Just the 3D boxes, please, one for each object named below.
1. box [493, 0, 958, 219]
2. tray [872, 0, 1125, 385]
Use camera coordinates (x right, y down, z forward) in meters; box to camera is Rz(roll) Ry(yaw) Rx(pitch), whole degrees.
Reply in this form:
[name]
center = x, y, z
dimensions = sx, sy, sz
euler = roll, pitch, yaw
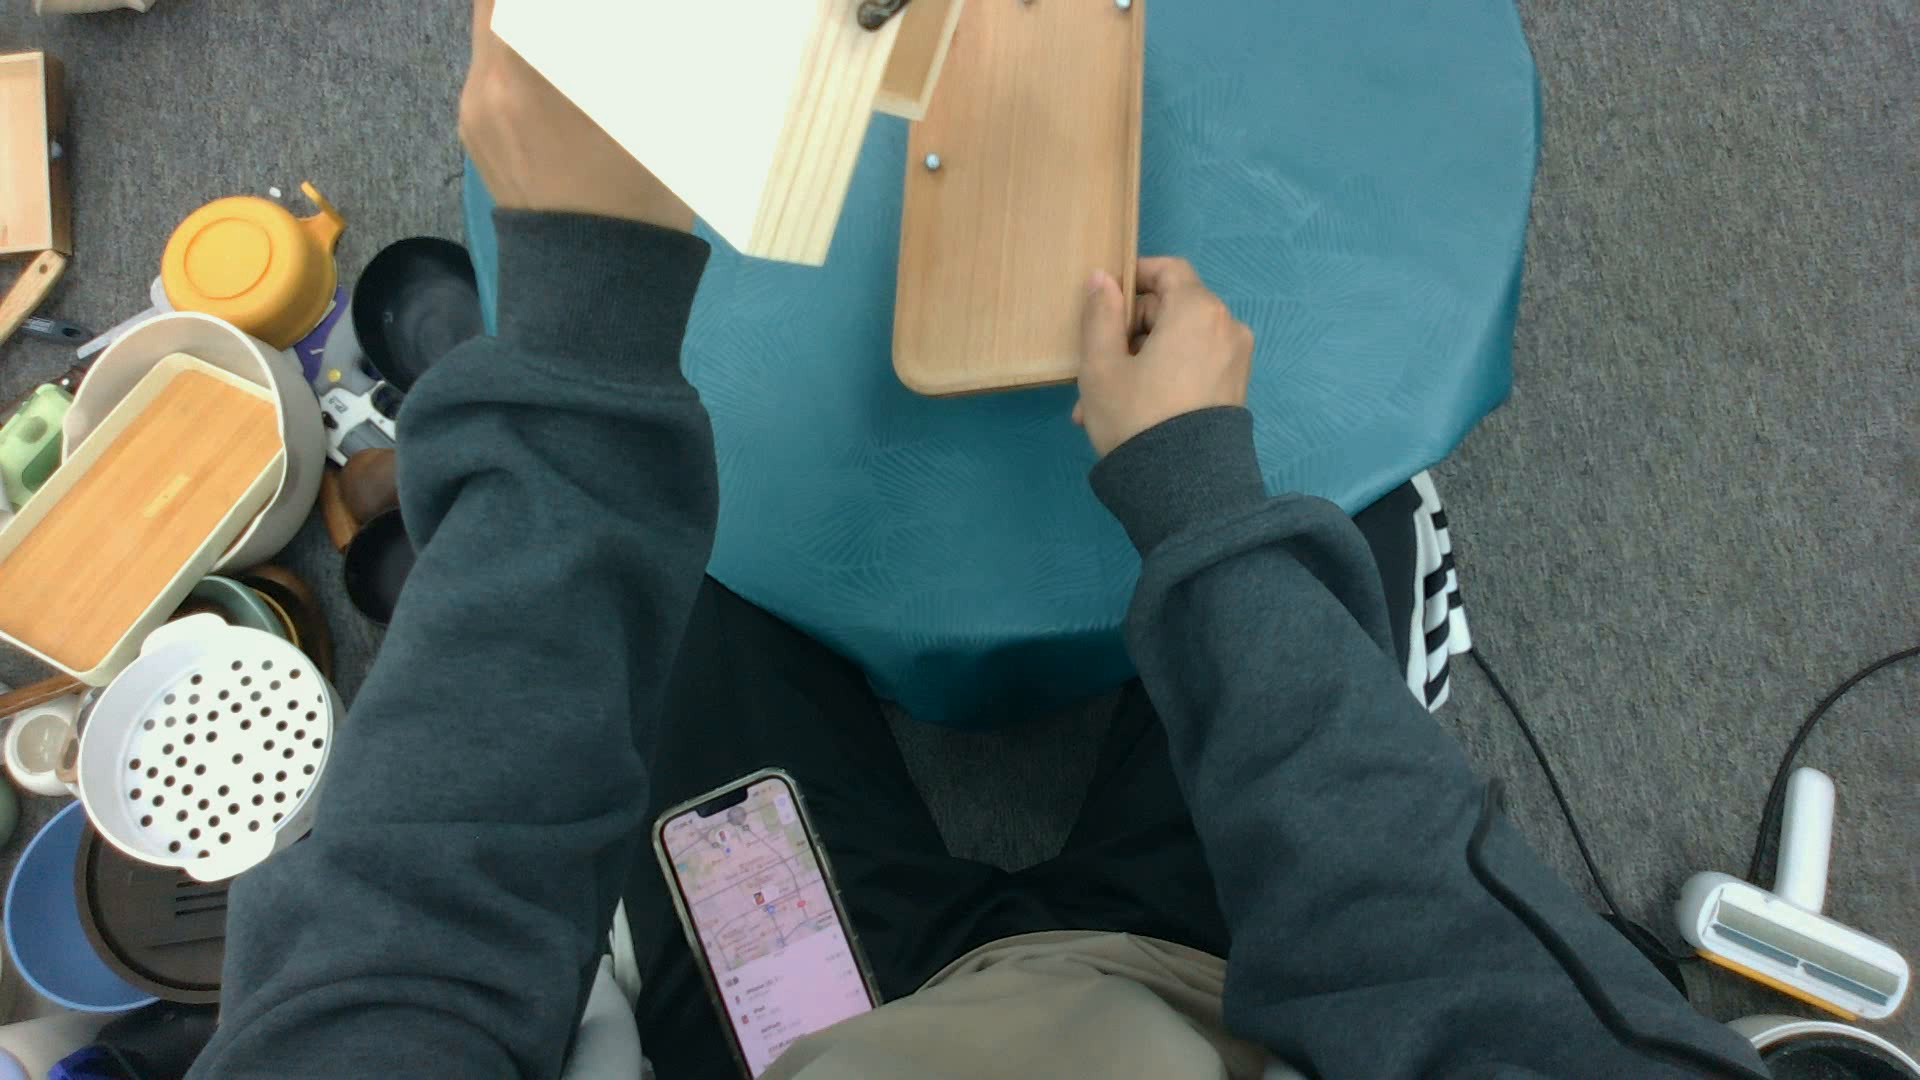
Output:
[box]
center = -0.038, -0.234, 0.465
dimensions = 0.253, 0.266, 0.181
euler = 37, 120, 33
[tray]
center = 0.022, -0.198, 0.699
dimensions = 0.130, 0.023, 0.251
euler = -5, 72, 26
